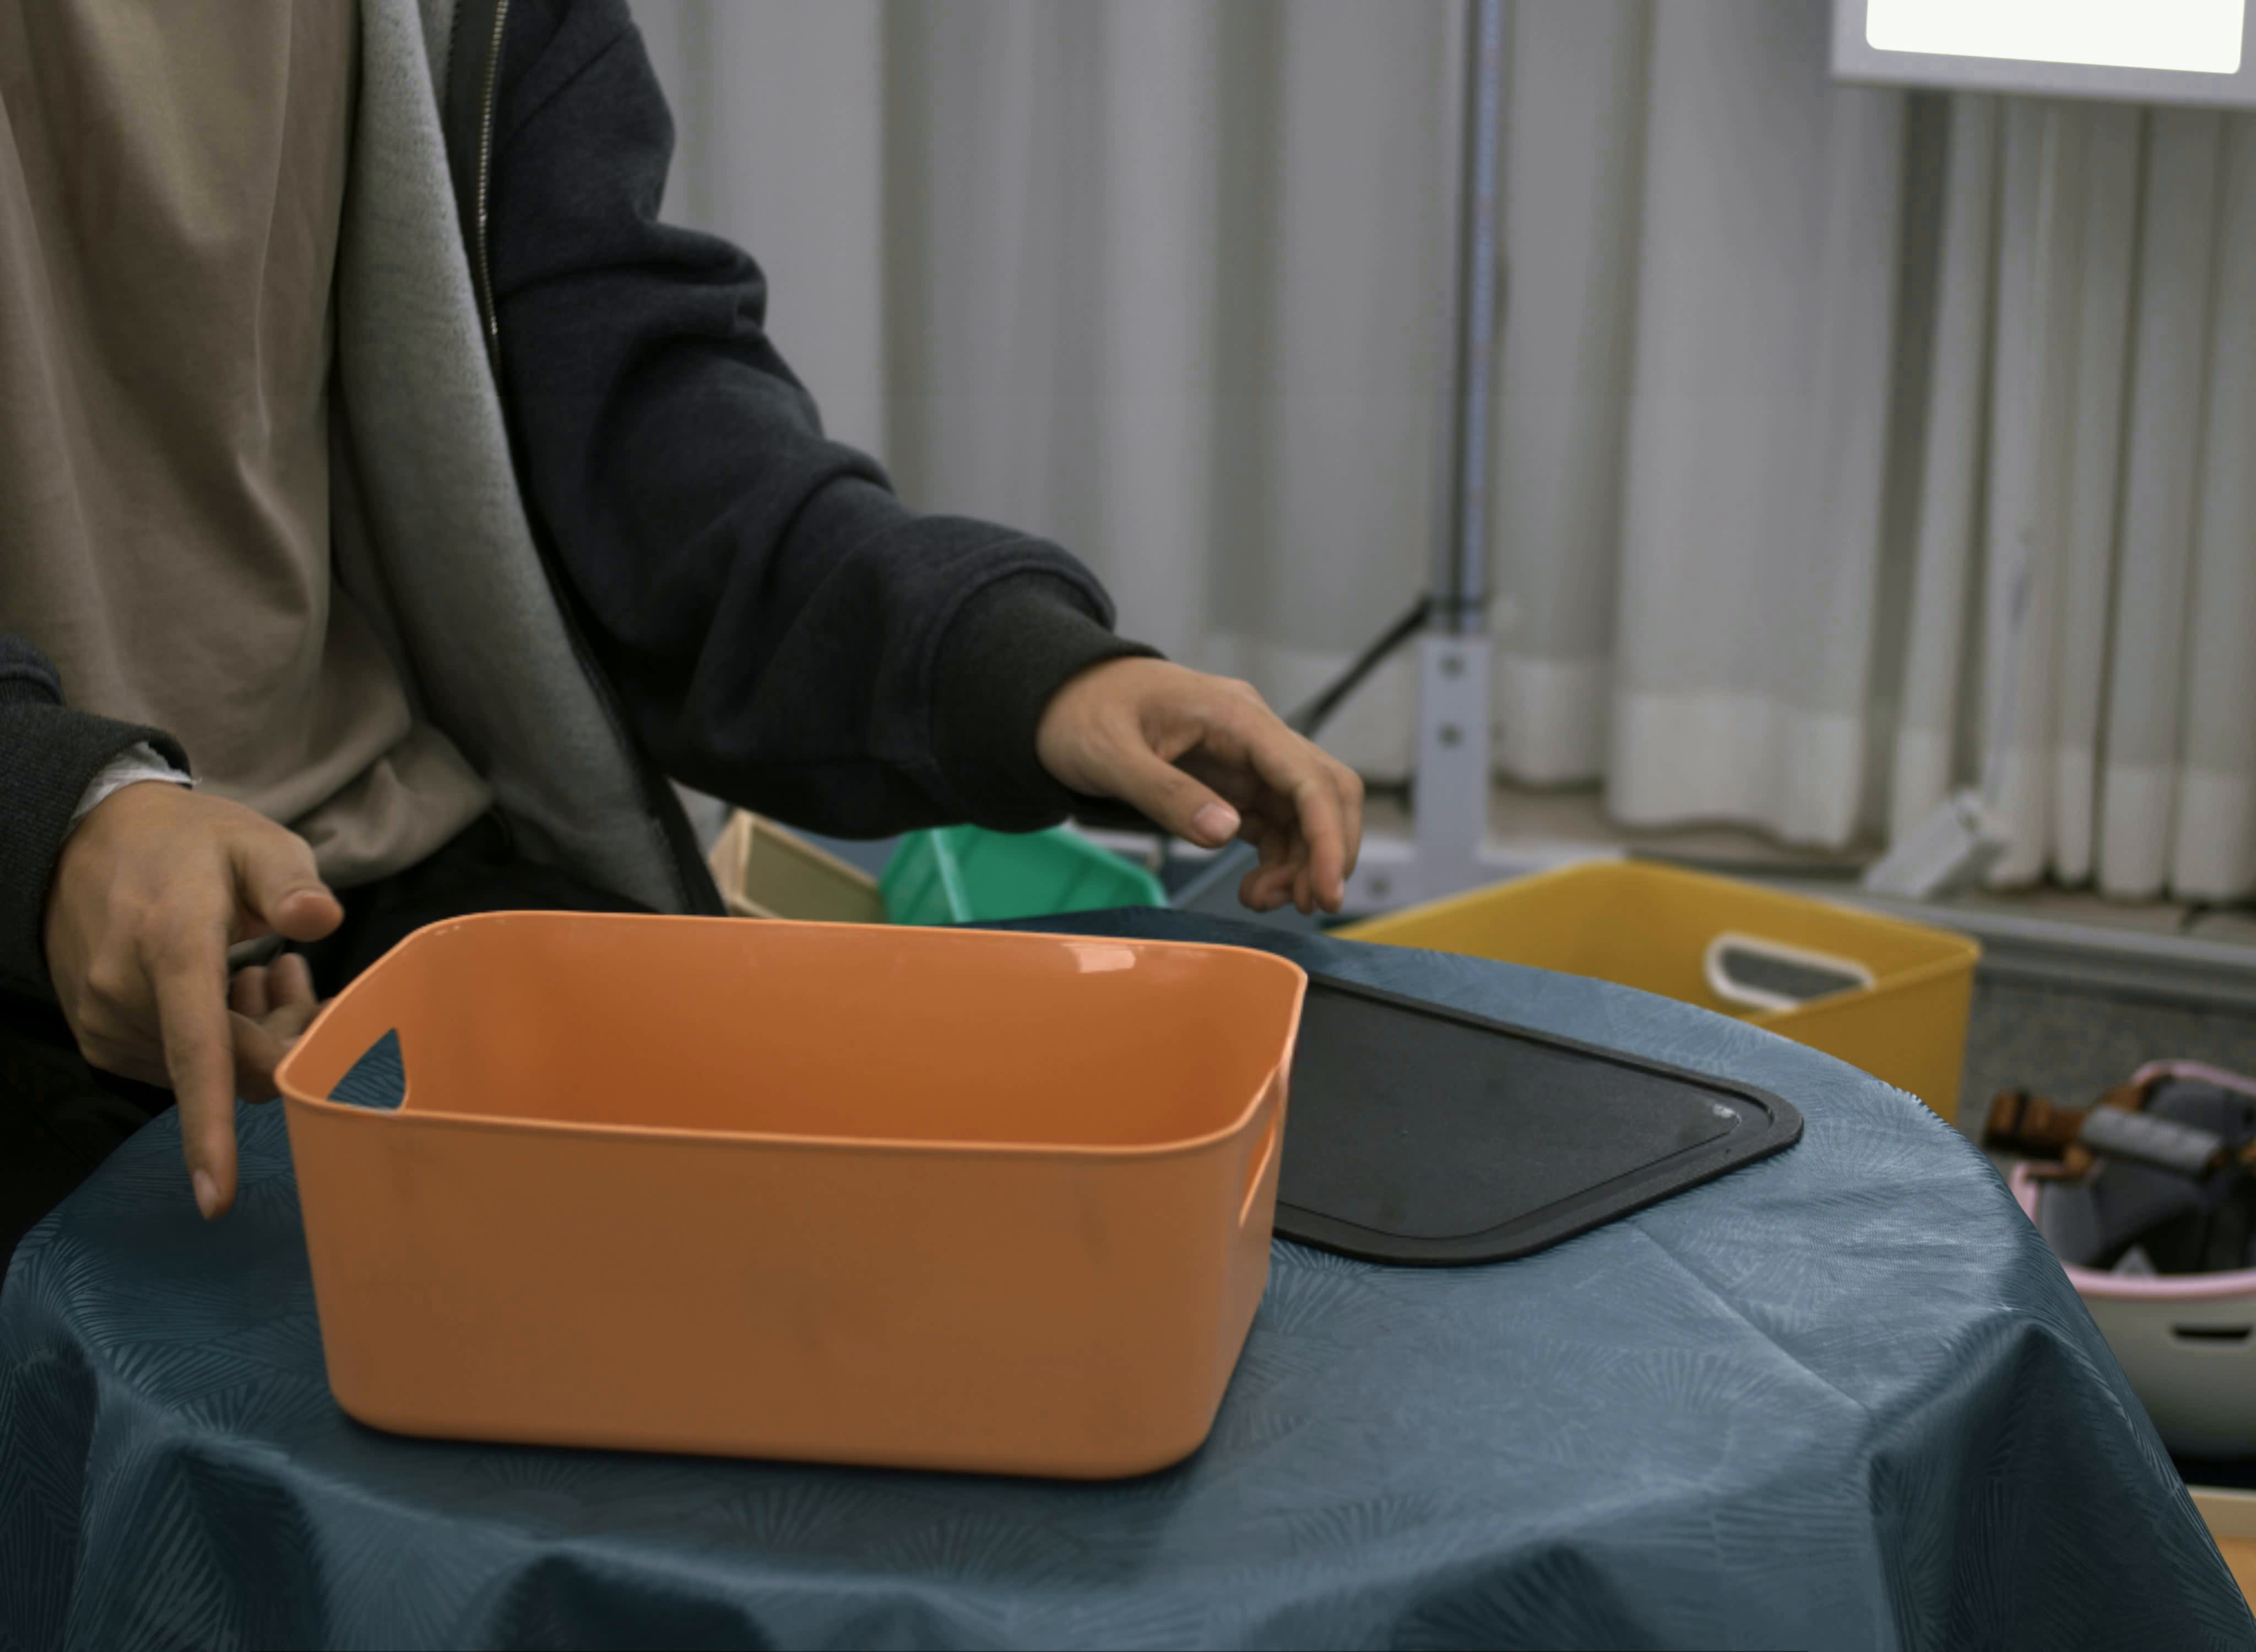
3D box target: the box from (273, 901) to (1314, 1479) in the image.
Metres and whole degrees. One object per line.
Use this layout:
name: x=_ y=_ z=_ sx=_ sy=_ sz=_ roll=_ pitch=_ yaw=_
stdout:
box: x=-0.088 y=0.099 z=1.469 sx=0.271 sy=0.103 sz=0.199 roll=3 pitch=16 yaw=8

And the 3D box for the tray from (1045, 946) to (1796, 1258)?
tray: x=0.042 y=0.083 z=1.716 sx=0.321 sy=0.010 sz=0.212 roll=14 pitch=20 yaw=39
